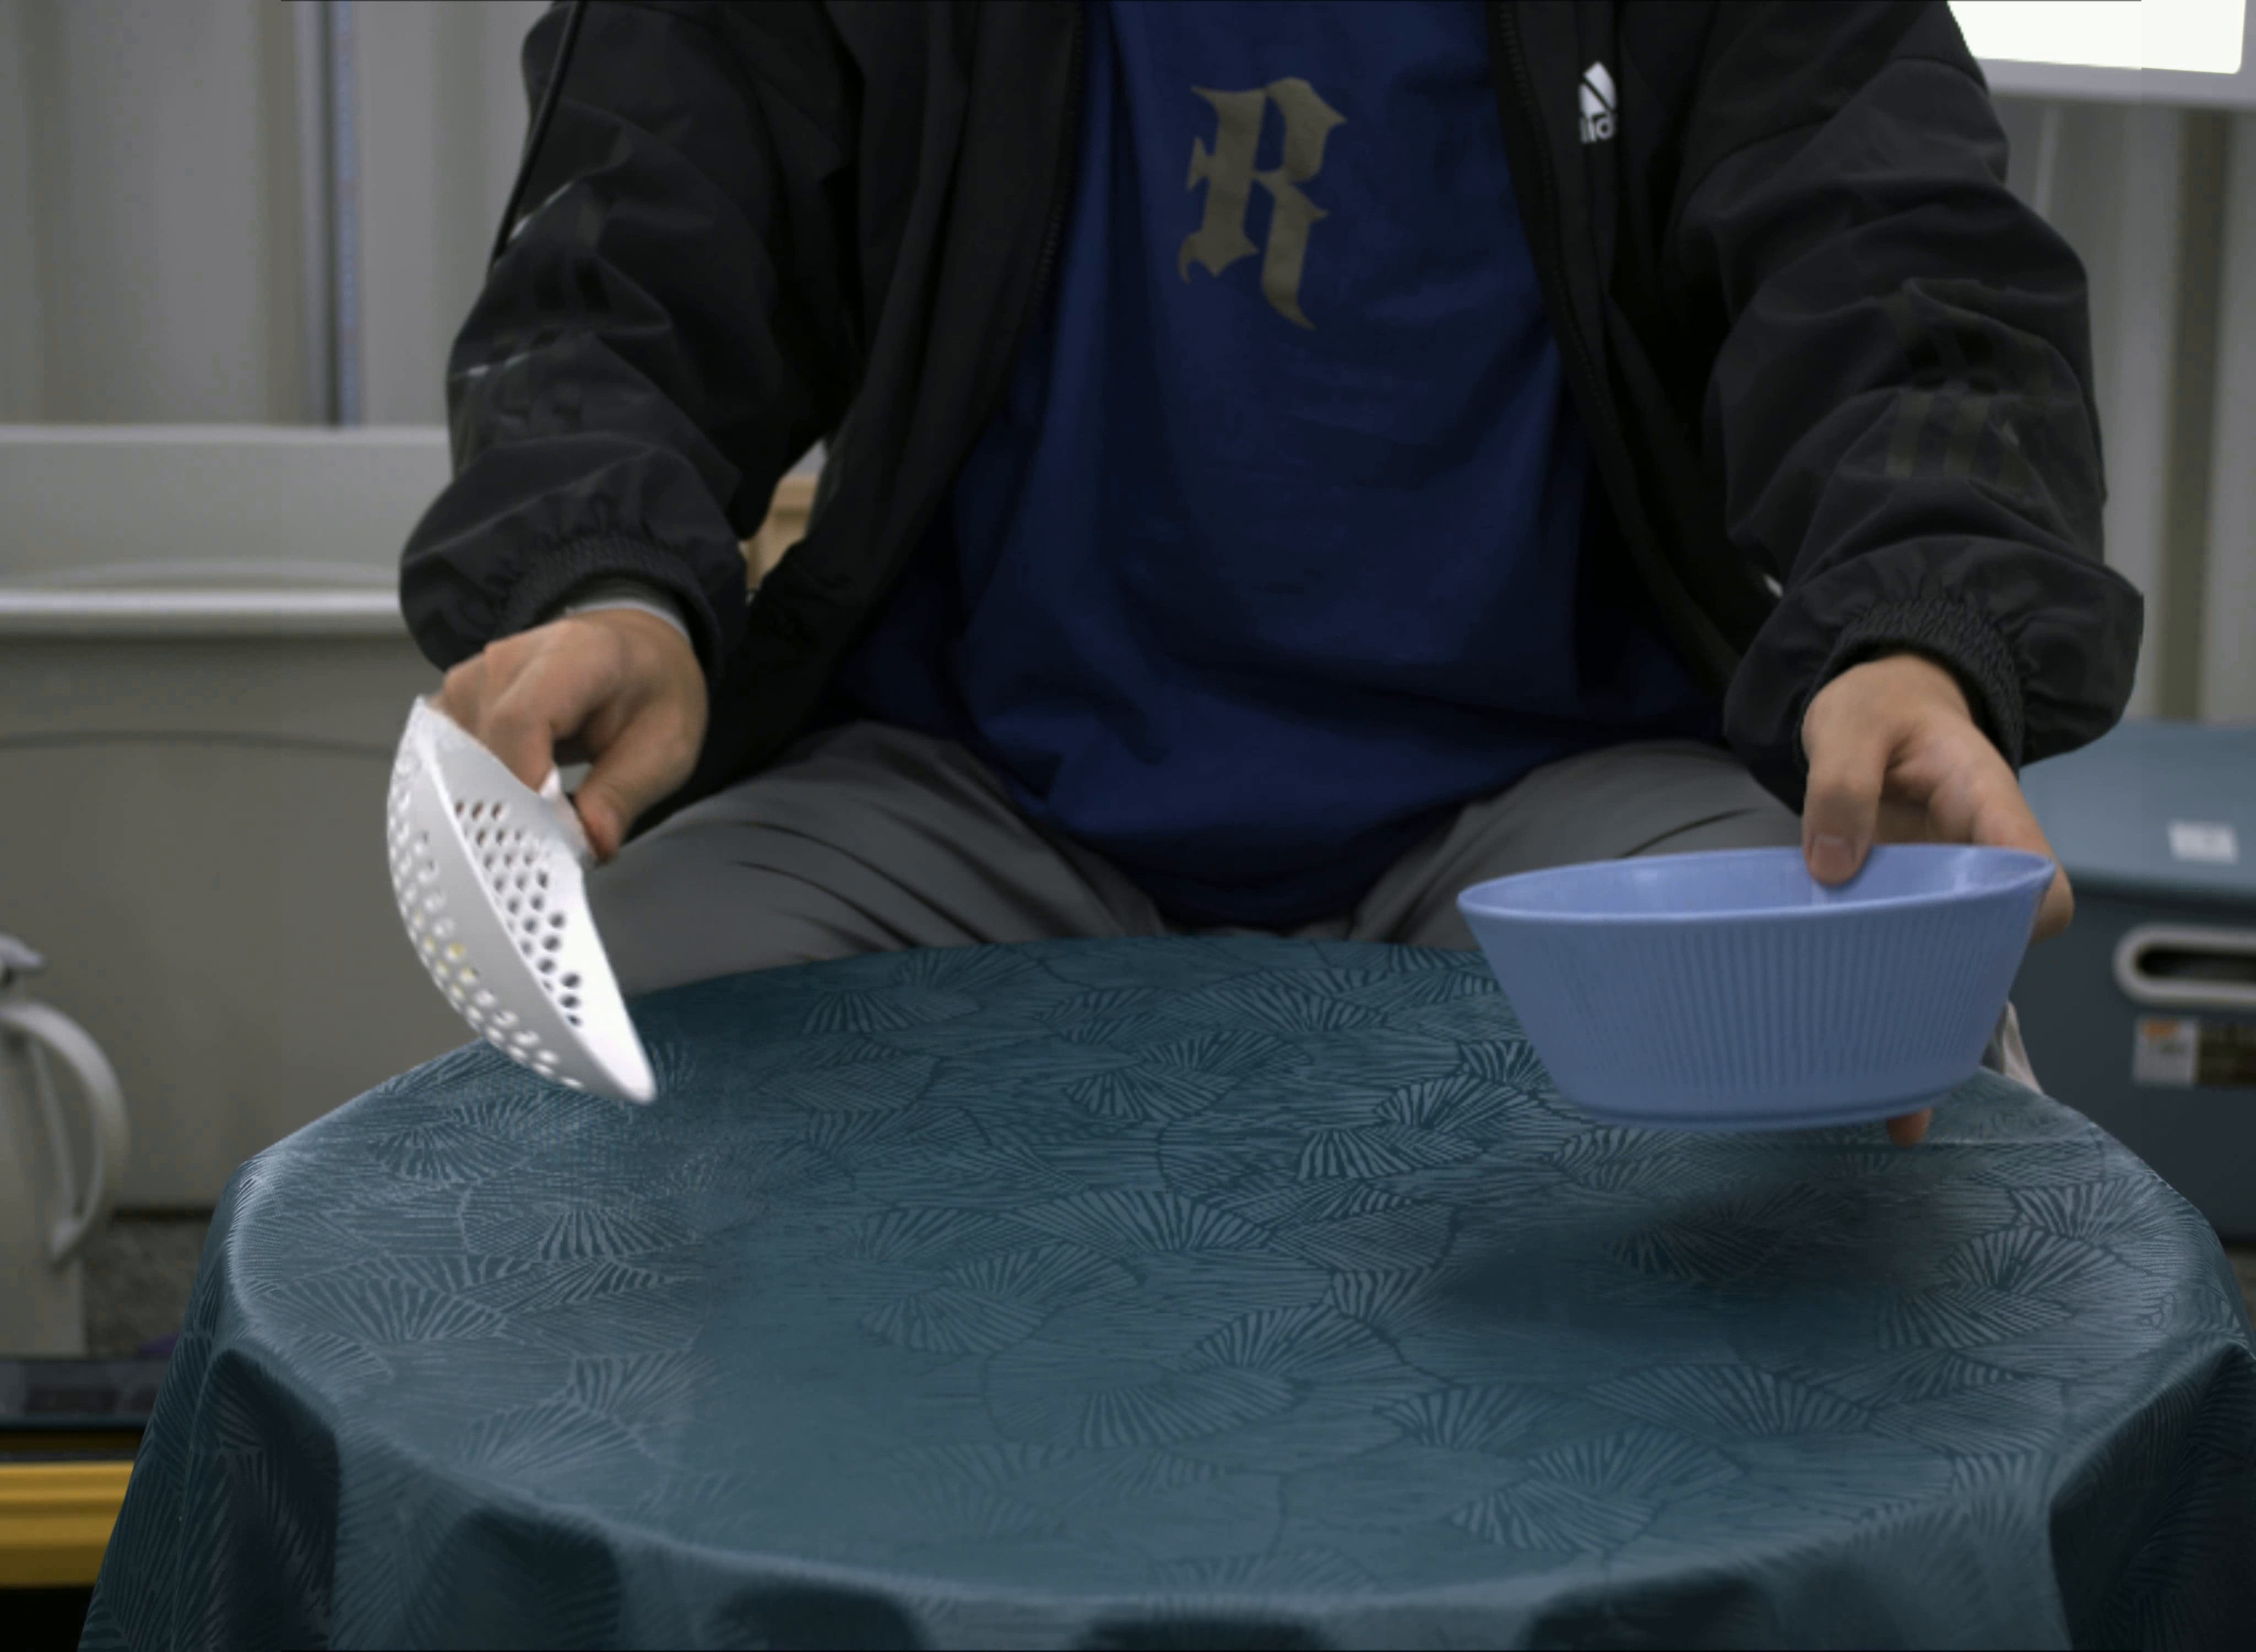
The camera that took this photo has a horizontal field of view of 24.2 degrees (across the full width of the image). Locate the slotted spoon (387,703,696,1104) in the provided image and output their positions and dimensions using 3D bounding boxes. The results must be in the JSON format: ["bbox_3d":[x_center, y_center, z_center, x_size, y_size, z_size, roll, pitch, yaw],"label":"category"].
[{"bbox_3d":[-0.183,0.009,1.612,0.050,0.137,0.346,-34,11,6],"label":"slotted spoon"}]

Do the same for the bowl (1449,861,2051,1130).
[{"bbox_3d":[0.183,0.049,1.545,0.175,0.070,0.176,-3,4,1],"label":"bowl"}]
